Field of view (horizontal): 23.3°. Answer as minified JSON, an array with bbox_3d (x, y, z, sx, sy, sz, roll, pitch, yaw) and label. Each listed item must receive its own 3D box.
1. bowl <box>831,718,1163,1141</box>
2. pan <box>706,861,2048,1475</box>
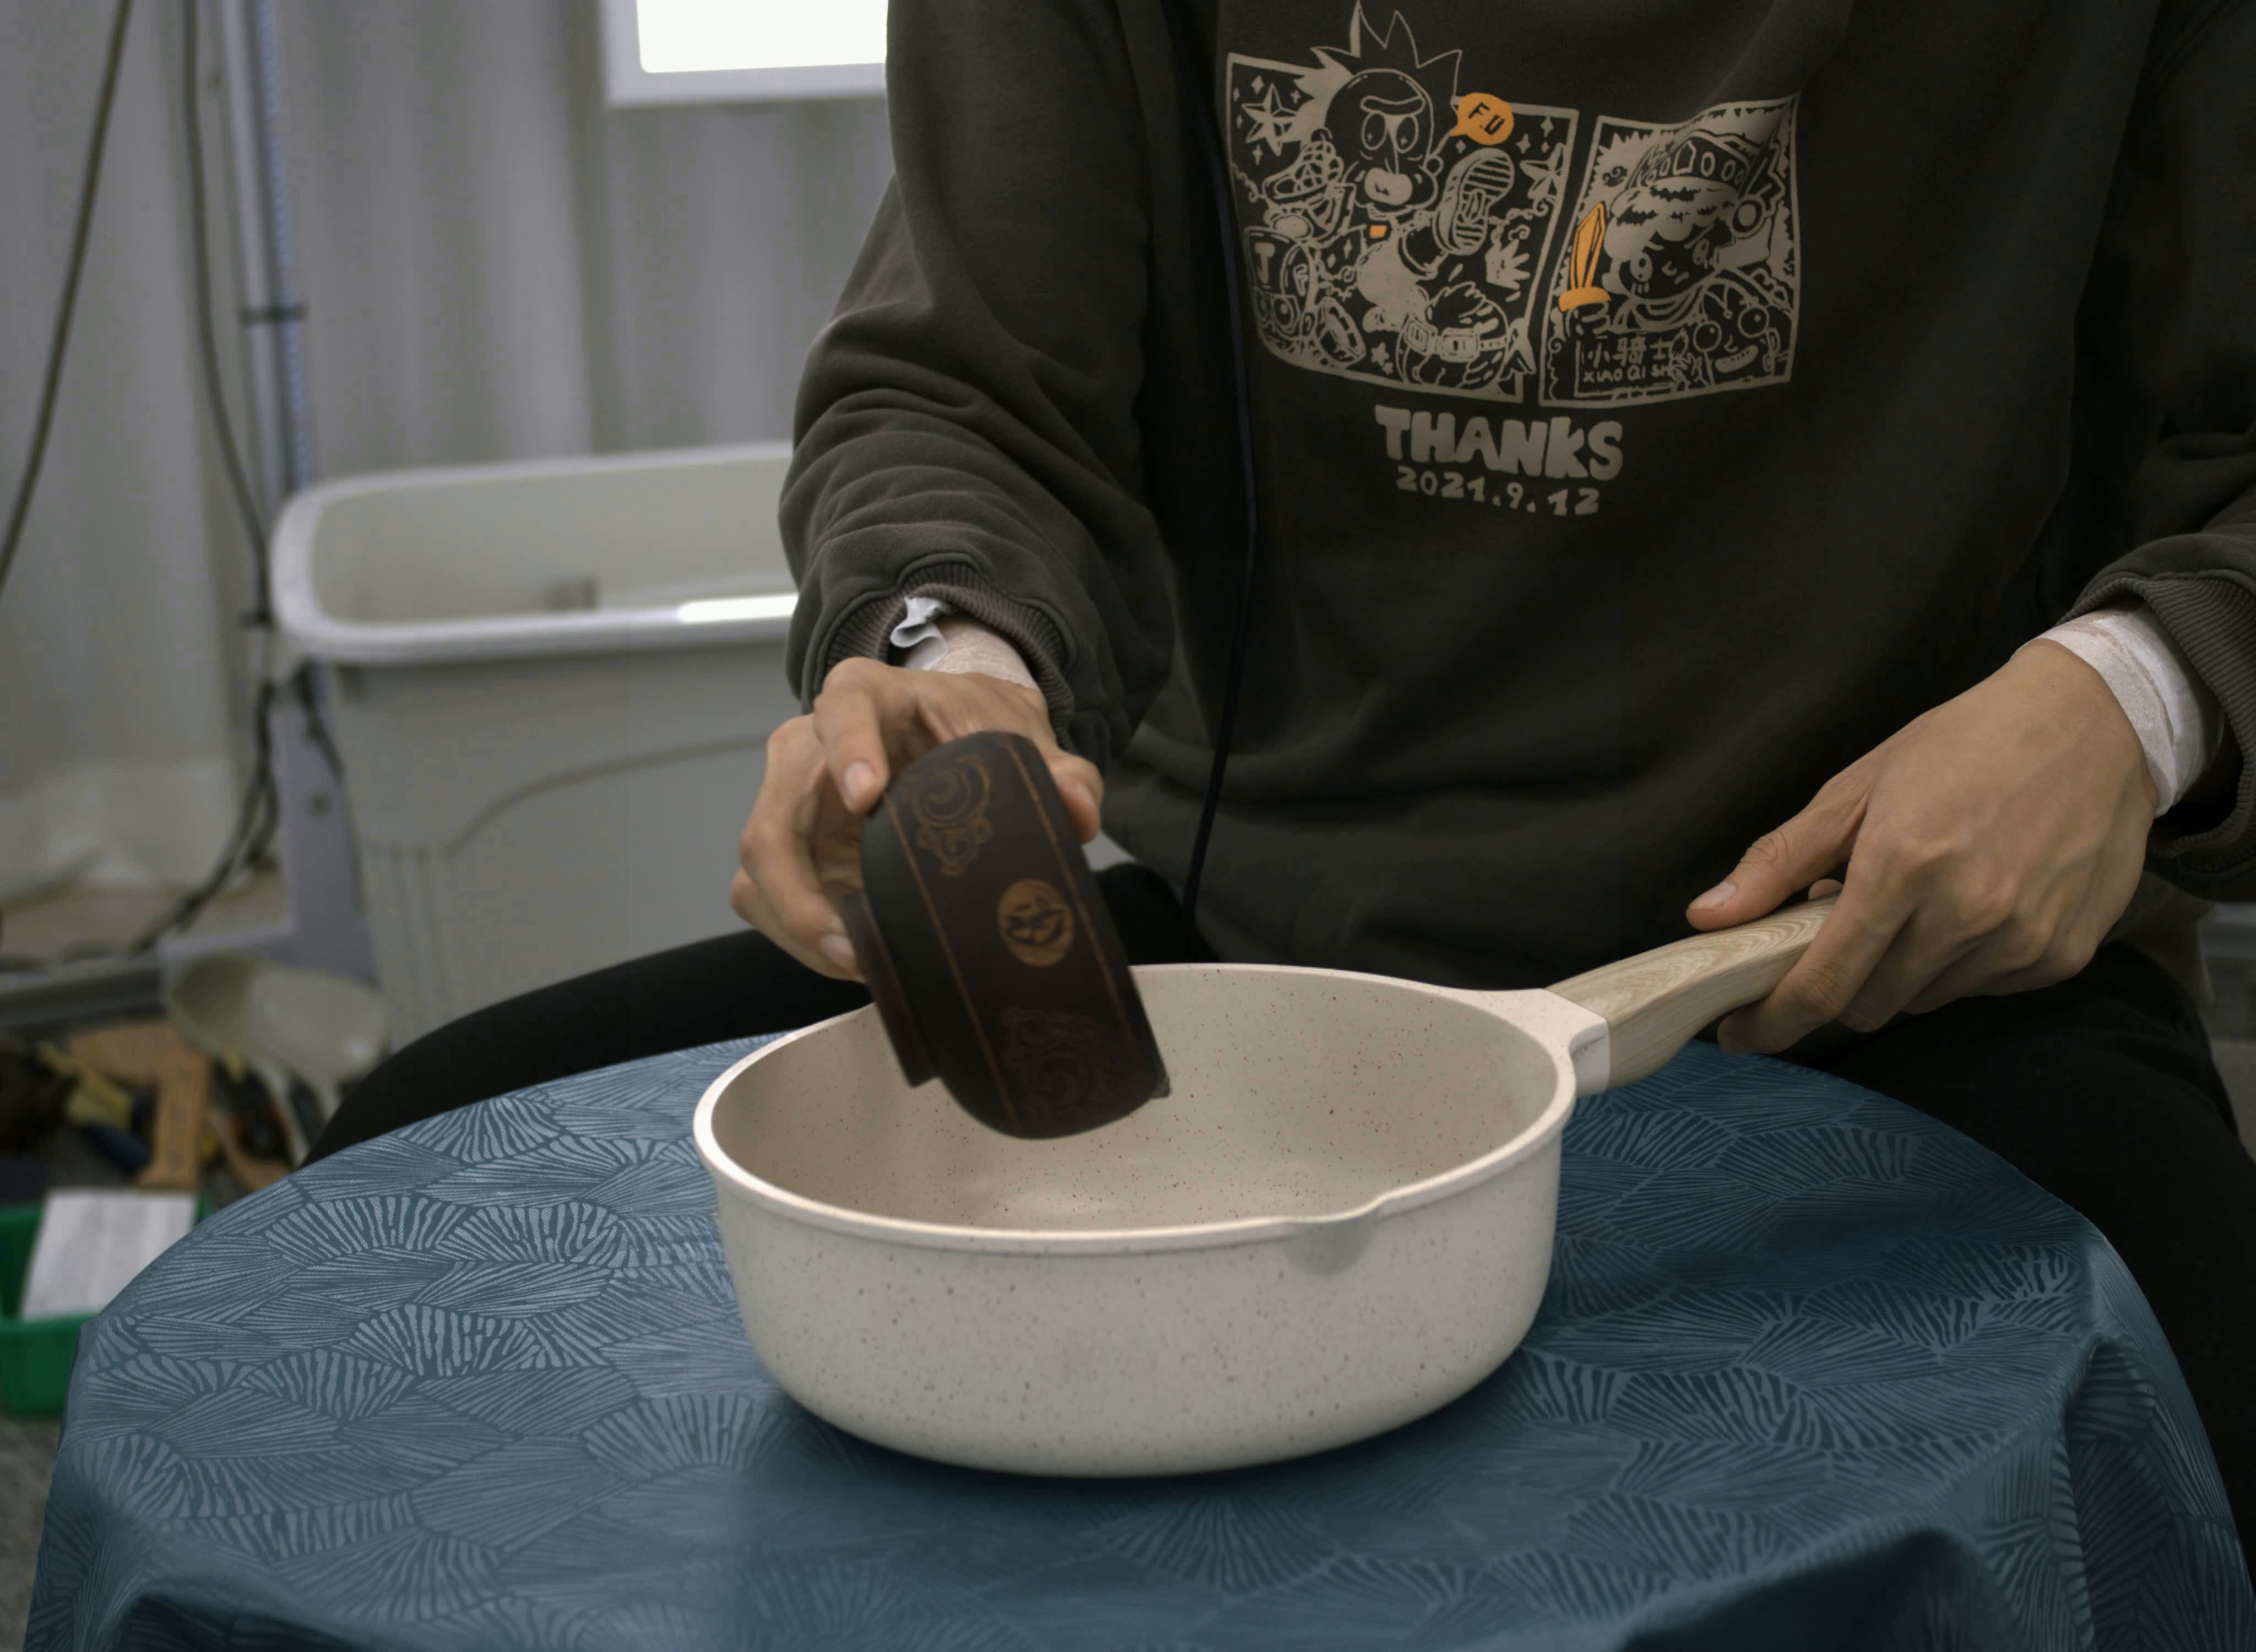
[{"bbox_3d":[-0.042,0.035,1.544,0.069,0.117,0.119,-21,17,-4],"label":"bowl"},{"bbox_3d":[0.089,0.094,1.596,0.433,0.101,0.265,-9,14,-24],"label":"pan"}]
